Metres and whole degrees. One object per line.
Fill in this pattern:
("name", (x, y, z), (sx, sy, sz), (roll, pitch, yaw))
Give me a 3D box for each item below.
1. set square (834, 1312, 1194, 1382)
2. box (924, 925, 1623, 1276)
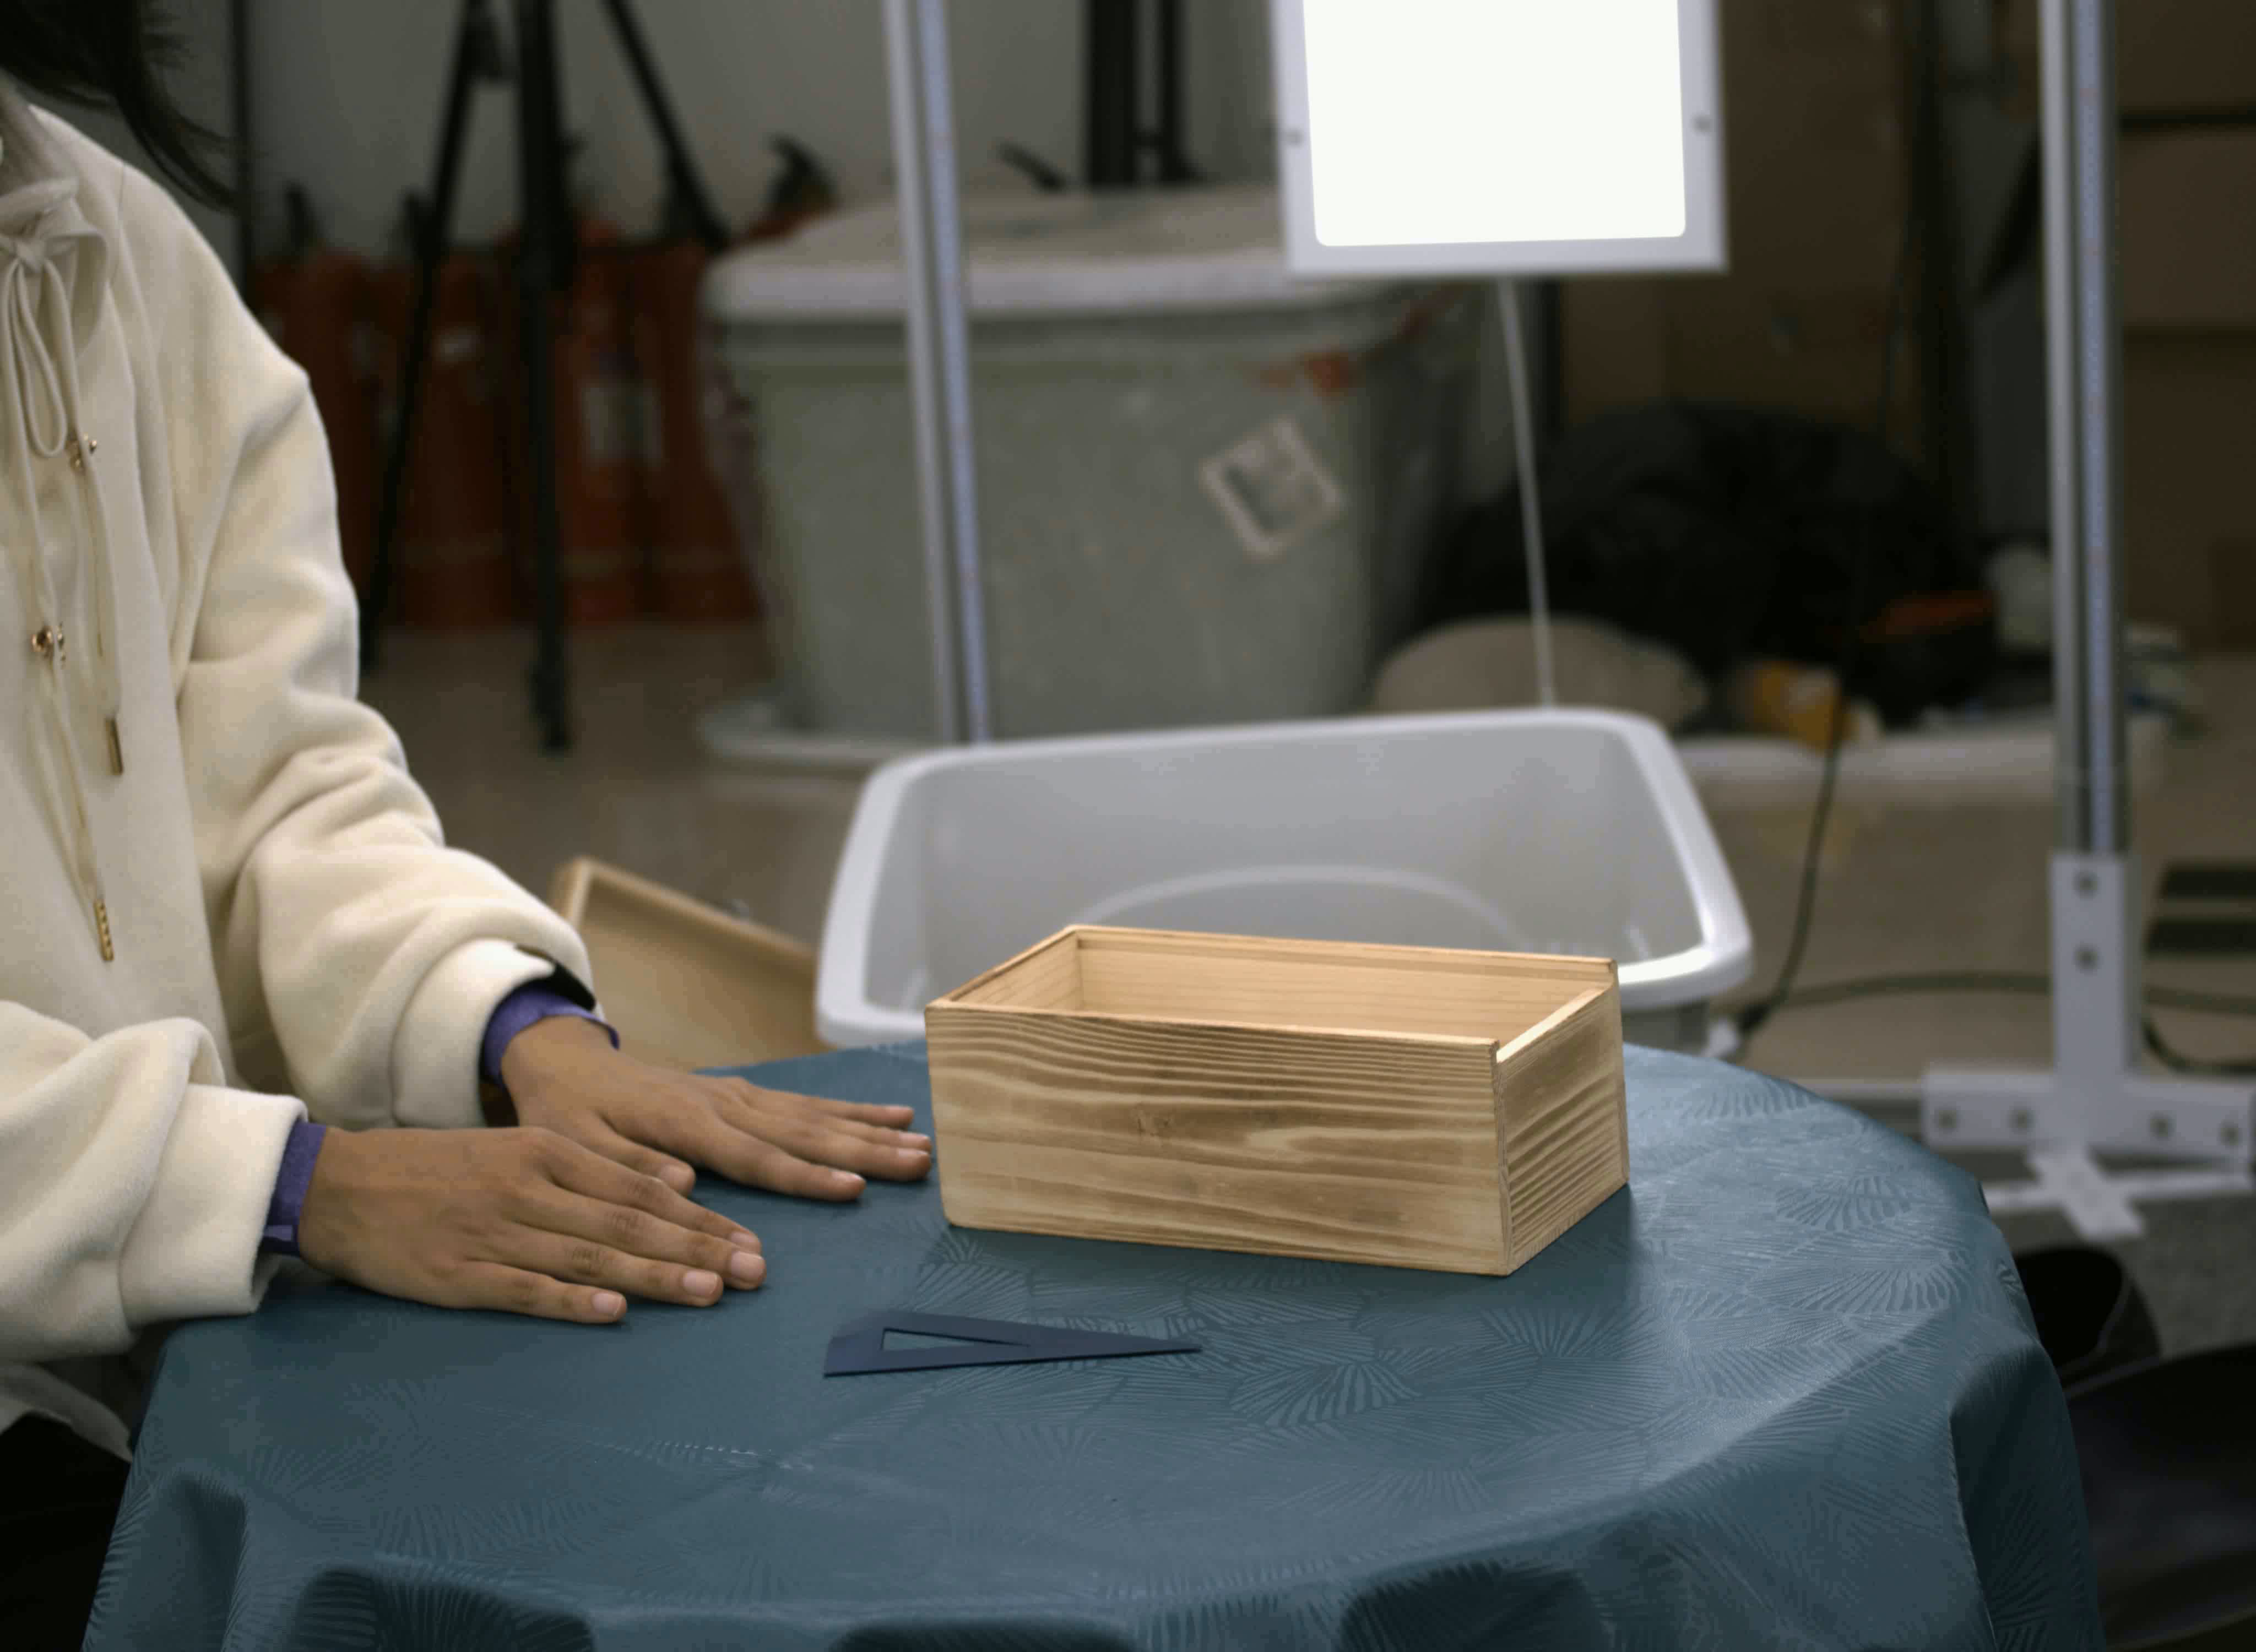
("set square", (-0.046, 0.168, 1.736), (0.135, 0.006, 0.059), (5, 16, 37))
("box", (0.049, 0.090, 1.860), (0.215, 0.080, 0.105), (3, 15, 29))
